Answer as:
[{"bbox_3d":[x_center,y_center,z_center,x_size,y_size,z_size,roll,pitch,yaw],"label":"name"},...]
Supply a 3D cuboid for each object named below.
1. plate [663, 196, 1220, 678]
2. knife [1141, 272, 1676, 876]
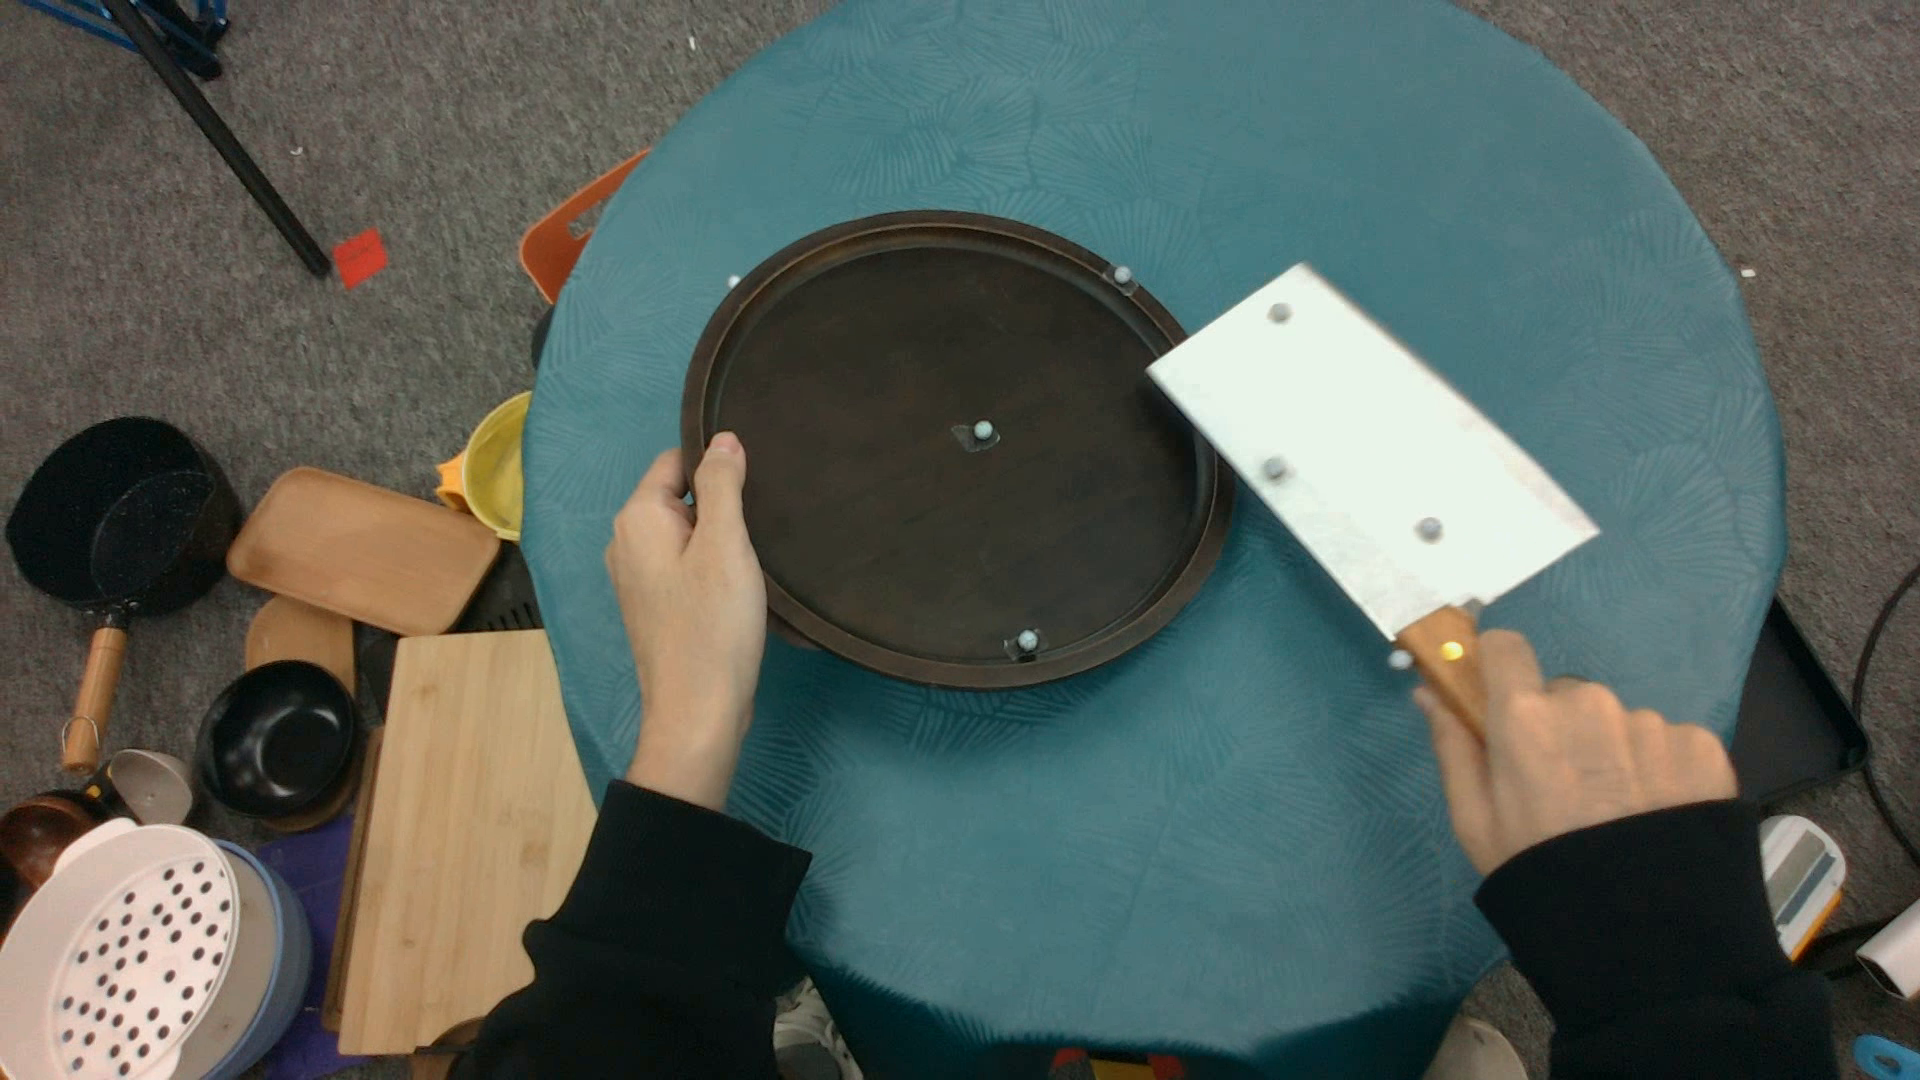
[{"bbox_3d":[-0.006,-0.053,0.624,0.255,0.029,0.256,6,59,-10],"label":"plate"},{"bbox_3d":[0.186,-0.010,0.558,0.093,0.021,0.306,-33,54,0],"label":"knife"}]
